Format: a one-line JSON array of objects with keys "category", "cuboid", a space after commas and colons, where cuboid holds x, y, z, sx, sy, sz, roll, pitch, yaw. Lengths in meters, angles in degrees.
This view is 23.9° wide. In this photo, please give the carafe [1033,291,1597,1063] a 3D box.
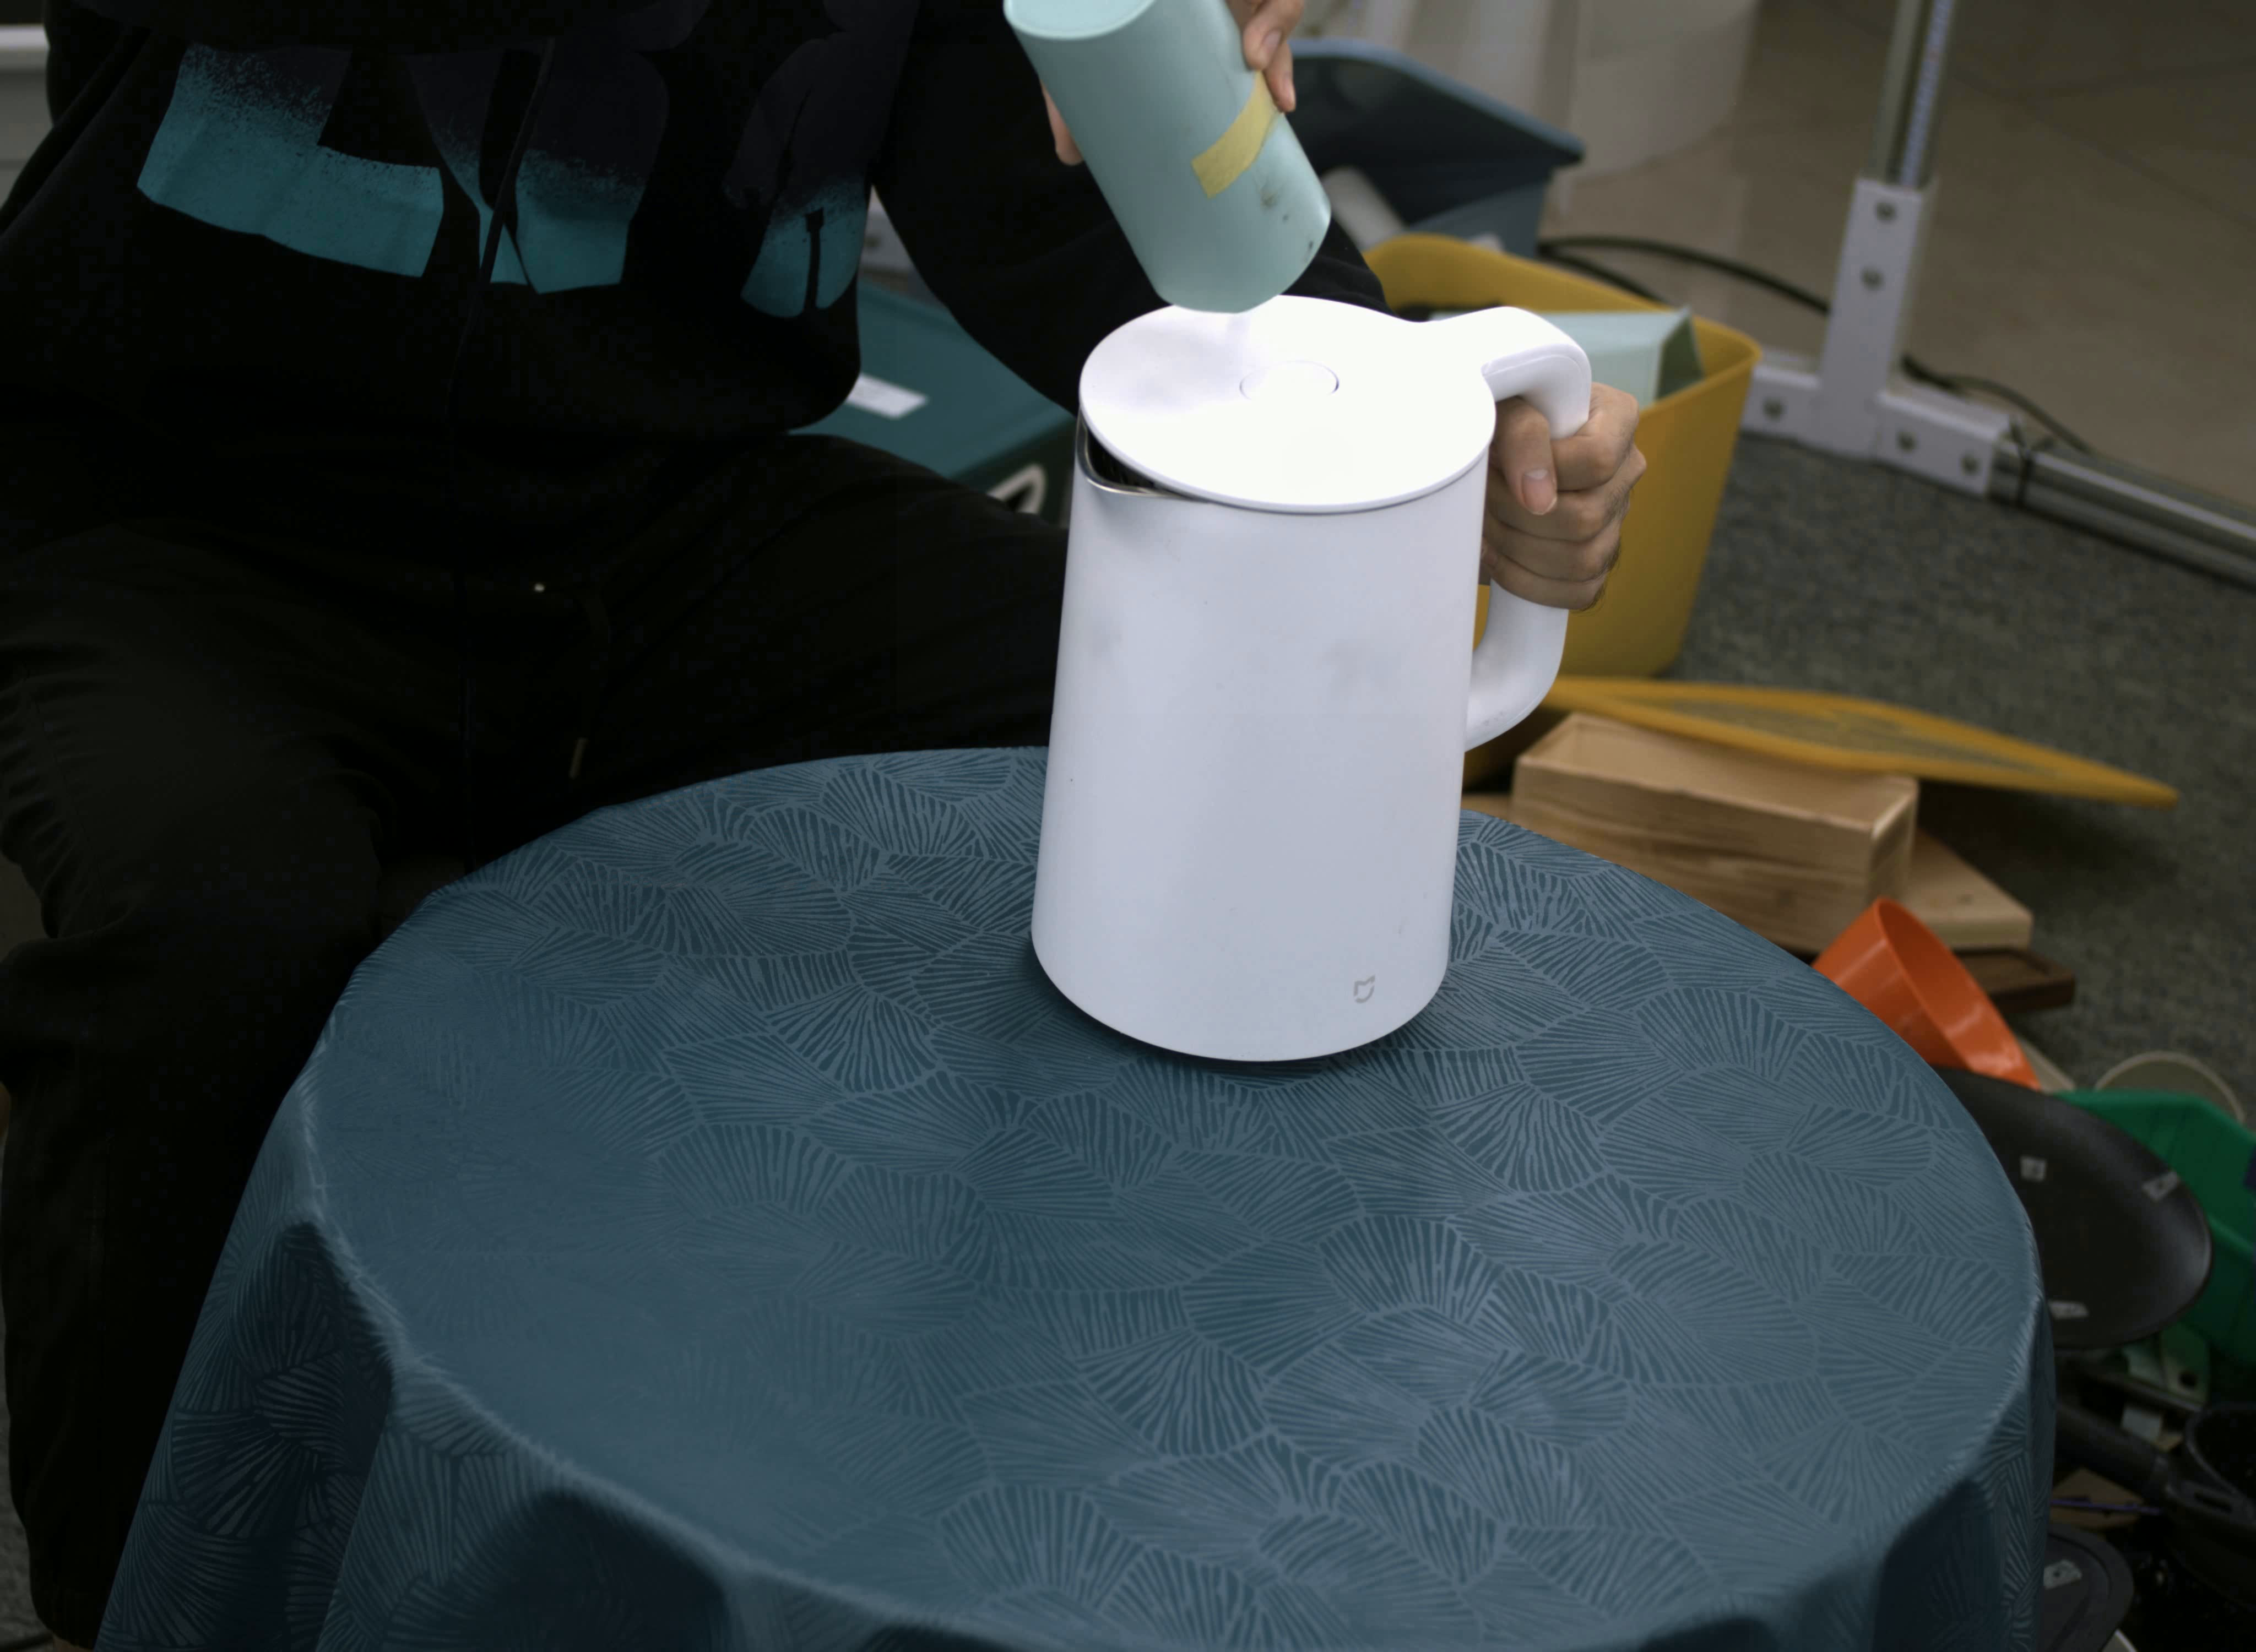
[{"category": "carafe", "cuboid": [0.070, -0.060, 1.886, 0.212, 0.239, 0.153, -19, 40, -29]}]

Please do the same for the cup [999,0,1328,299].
[{"category": "cup", "cuboid": [0.011, -0.239, 1.745, 0.067, 0.131, 0.067, -16, 46, 17]}]
